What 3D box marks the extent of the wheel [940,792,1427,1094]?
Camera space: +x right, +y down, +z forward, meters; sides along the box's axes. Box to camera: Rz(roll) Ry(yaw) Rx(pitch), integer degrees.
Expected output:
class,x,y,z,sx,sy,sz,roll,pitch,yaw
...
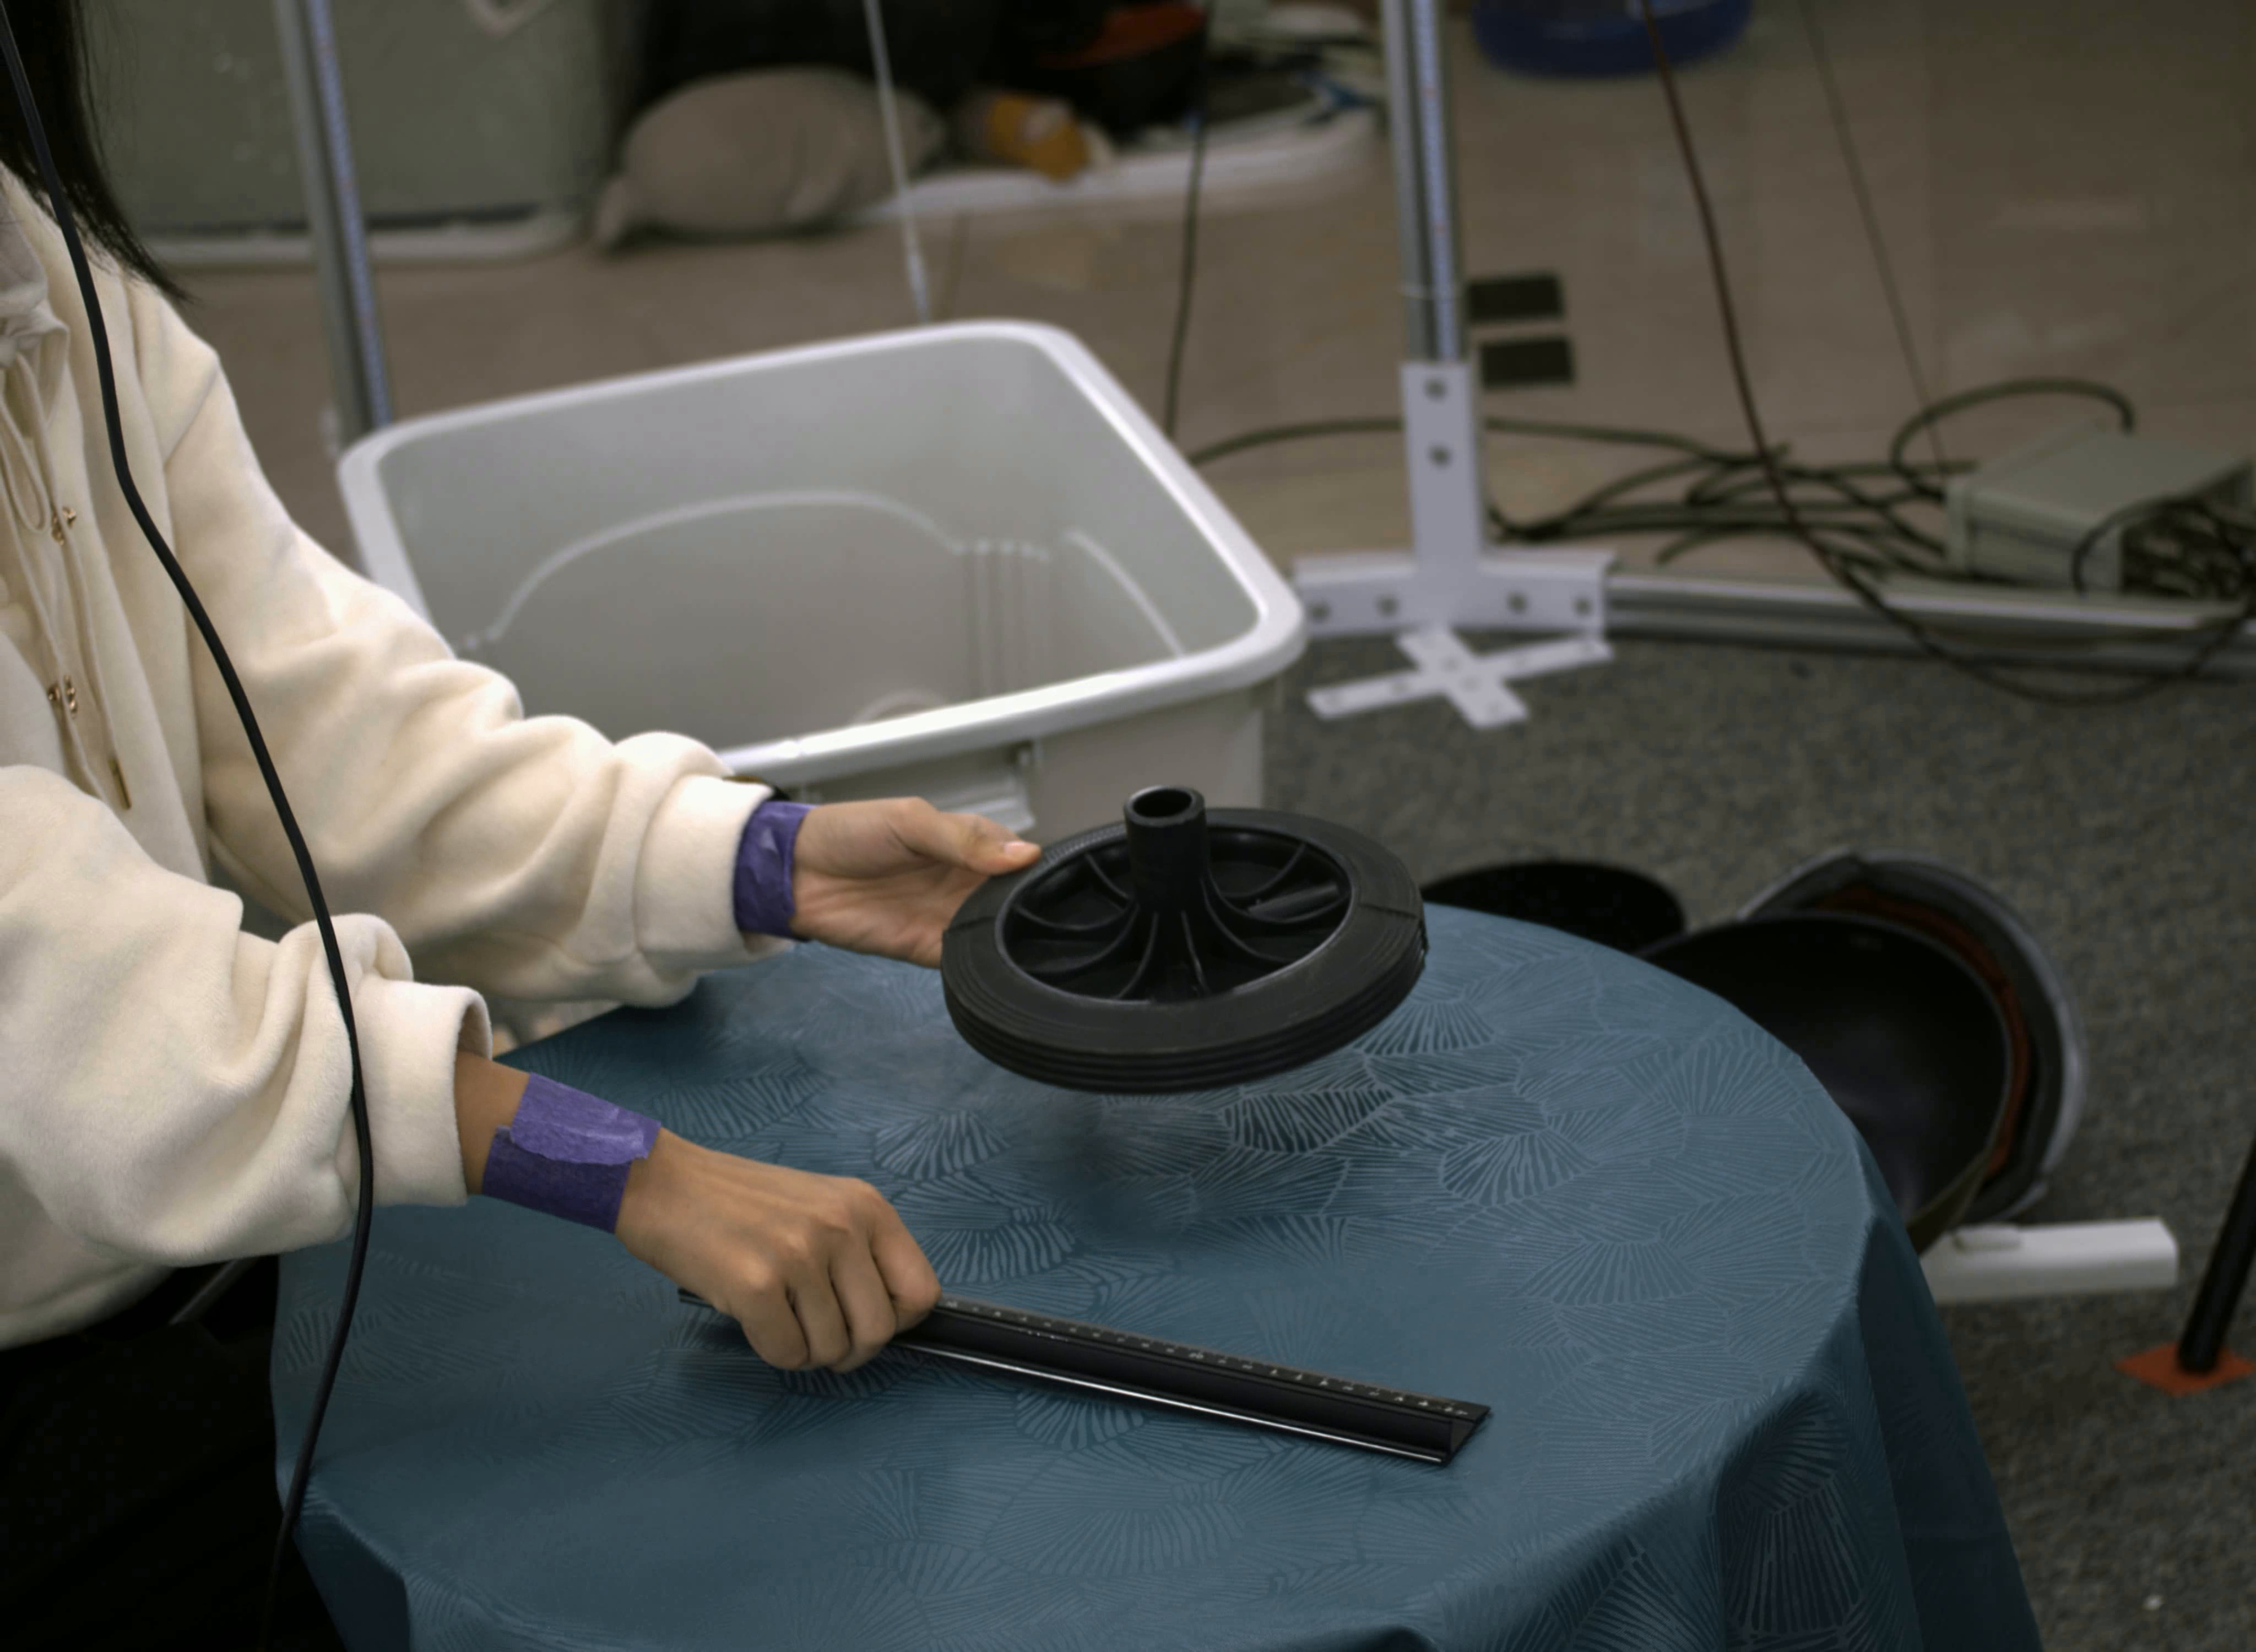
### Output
class,x,y,z,sx,sy,sz,roll,pitch,yaw
wheel,0.019,0.028,2.164,0.188,0.080,0.186,-30,36,-35

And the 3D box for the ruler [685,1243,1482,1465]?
class,x,y,z,sx,sy,sz,roll,pitch,yaw
ruler,-0.020,0.181,2.027,0.311,0.017,0.039,10,29,28
